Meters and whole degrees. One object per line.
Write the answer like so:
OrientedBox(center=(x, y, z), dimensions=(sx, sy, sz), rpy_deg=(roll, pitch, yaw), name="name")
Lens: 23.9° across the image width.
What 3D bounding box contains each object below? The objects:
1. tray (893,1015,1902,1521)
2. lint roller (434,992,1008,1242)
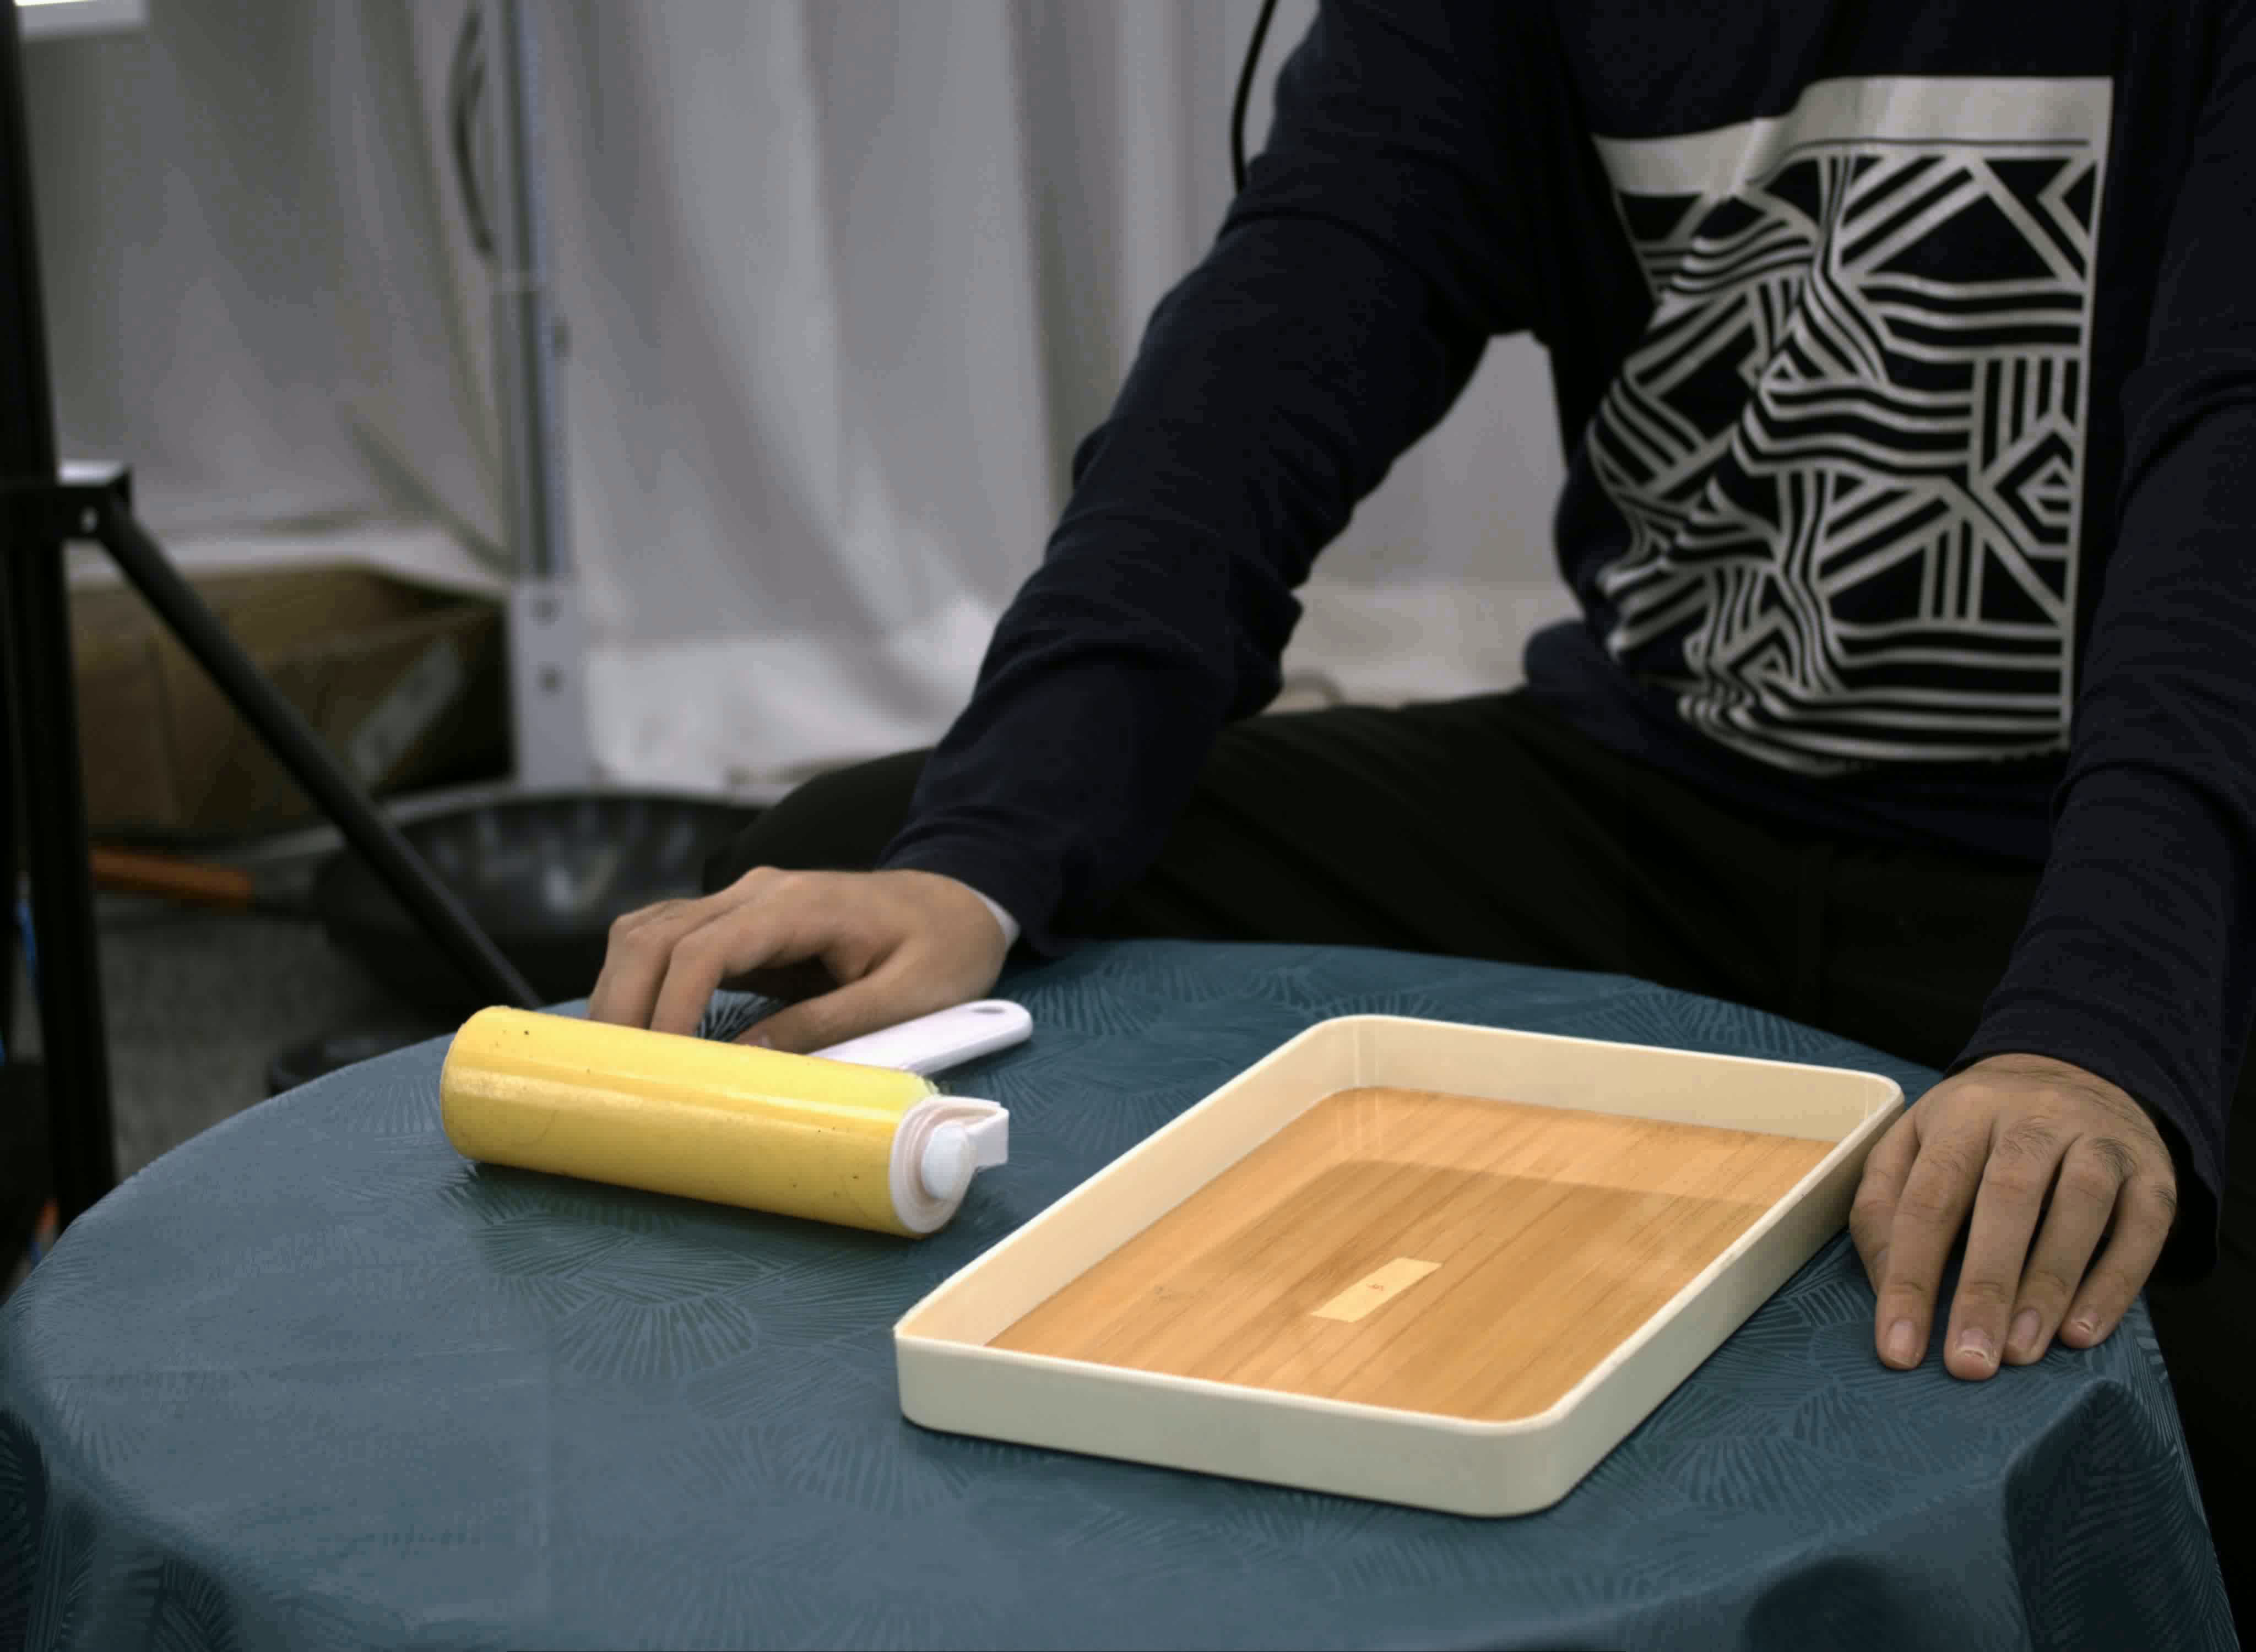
OrientedBox(center=(0.083, 0.116, 1.470), dimensions=(0.195, 0.027, 0.295), rpy_deg=(7, 18, 27), name="tray")
OrientedBox(center=(-0.092, 0.067, 1.629), dimensions=(0.177, 0.051, 0.189), rpy_deg=(8, 22, 29), name="lint roller")
